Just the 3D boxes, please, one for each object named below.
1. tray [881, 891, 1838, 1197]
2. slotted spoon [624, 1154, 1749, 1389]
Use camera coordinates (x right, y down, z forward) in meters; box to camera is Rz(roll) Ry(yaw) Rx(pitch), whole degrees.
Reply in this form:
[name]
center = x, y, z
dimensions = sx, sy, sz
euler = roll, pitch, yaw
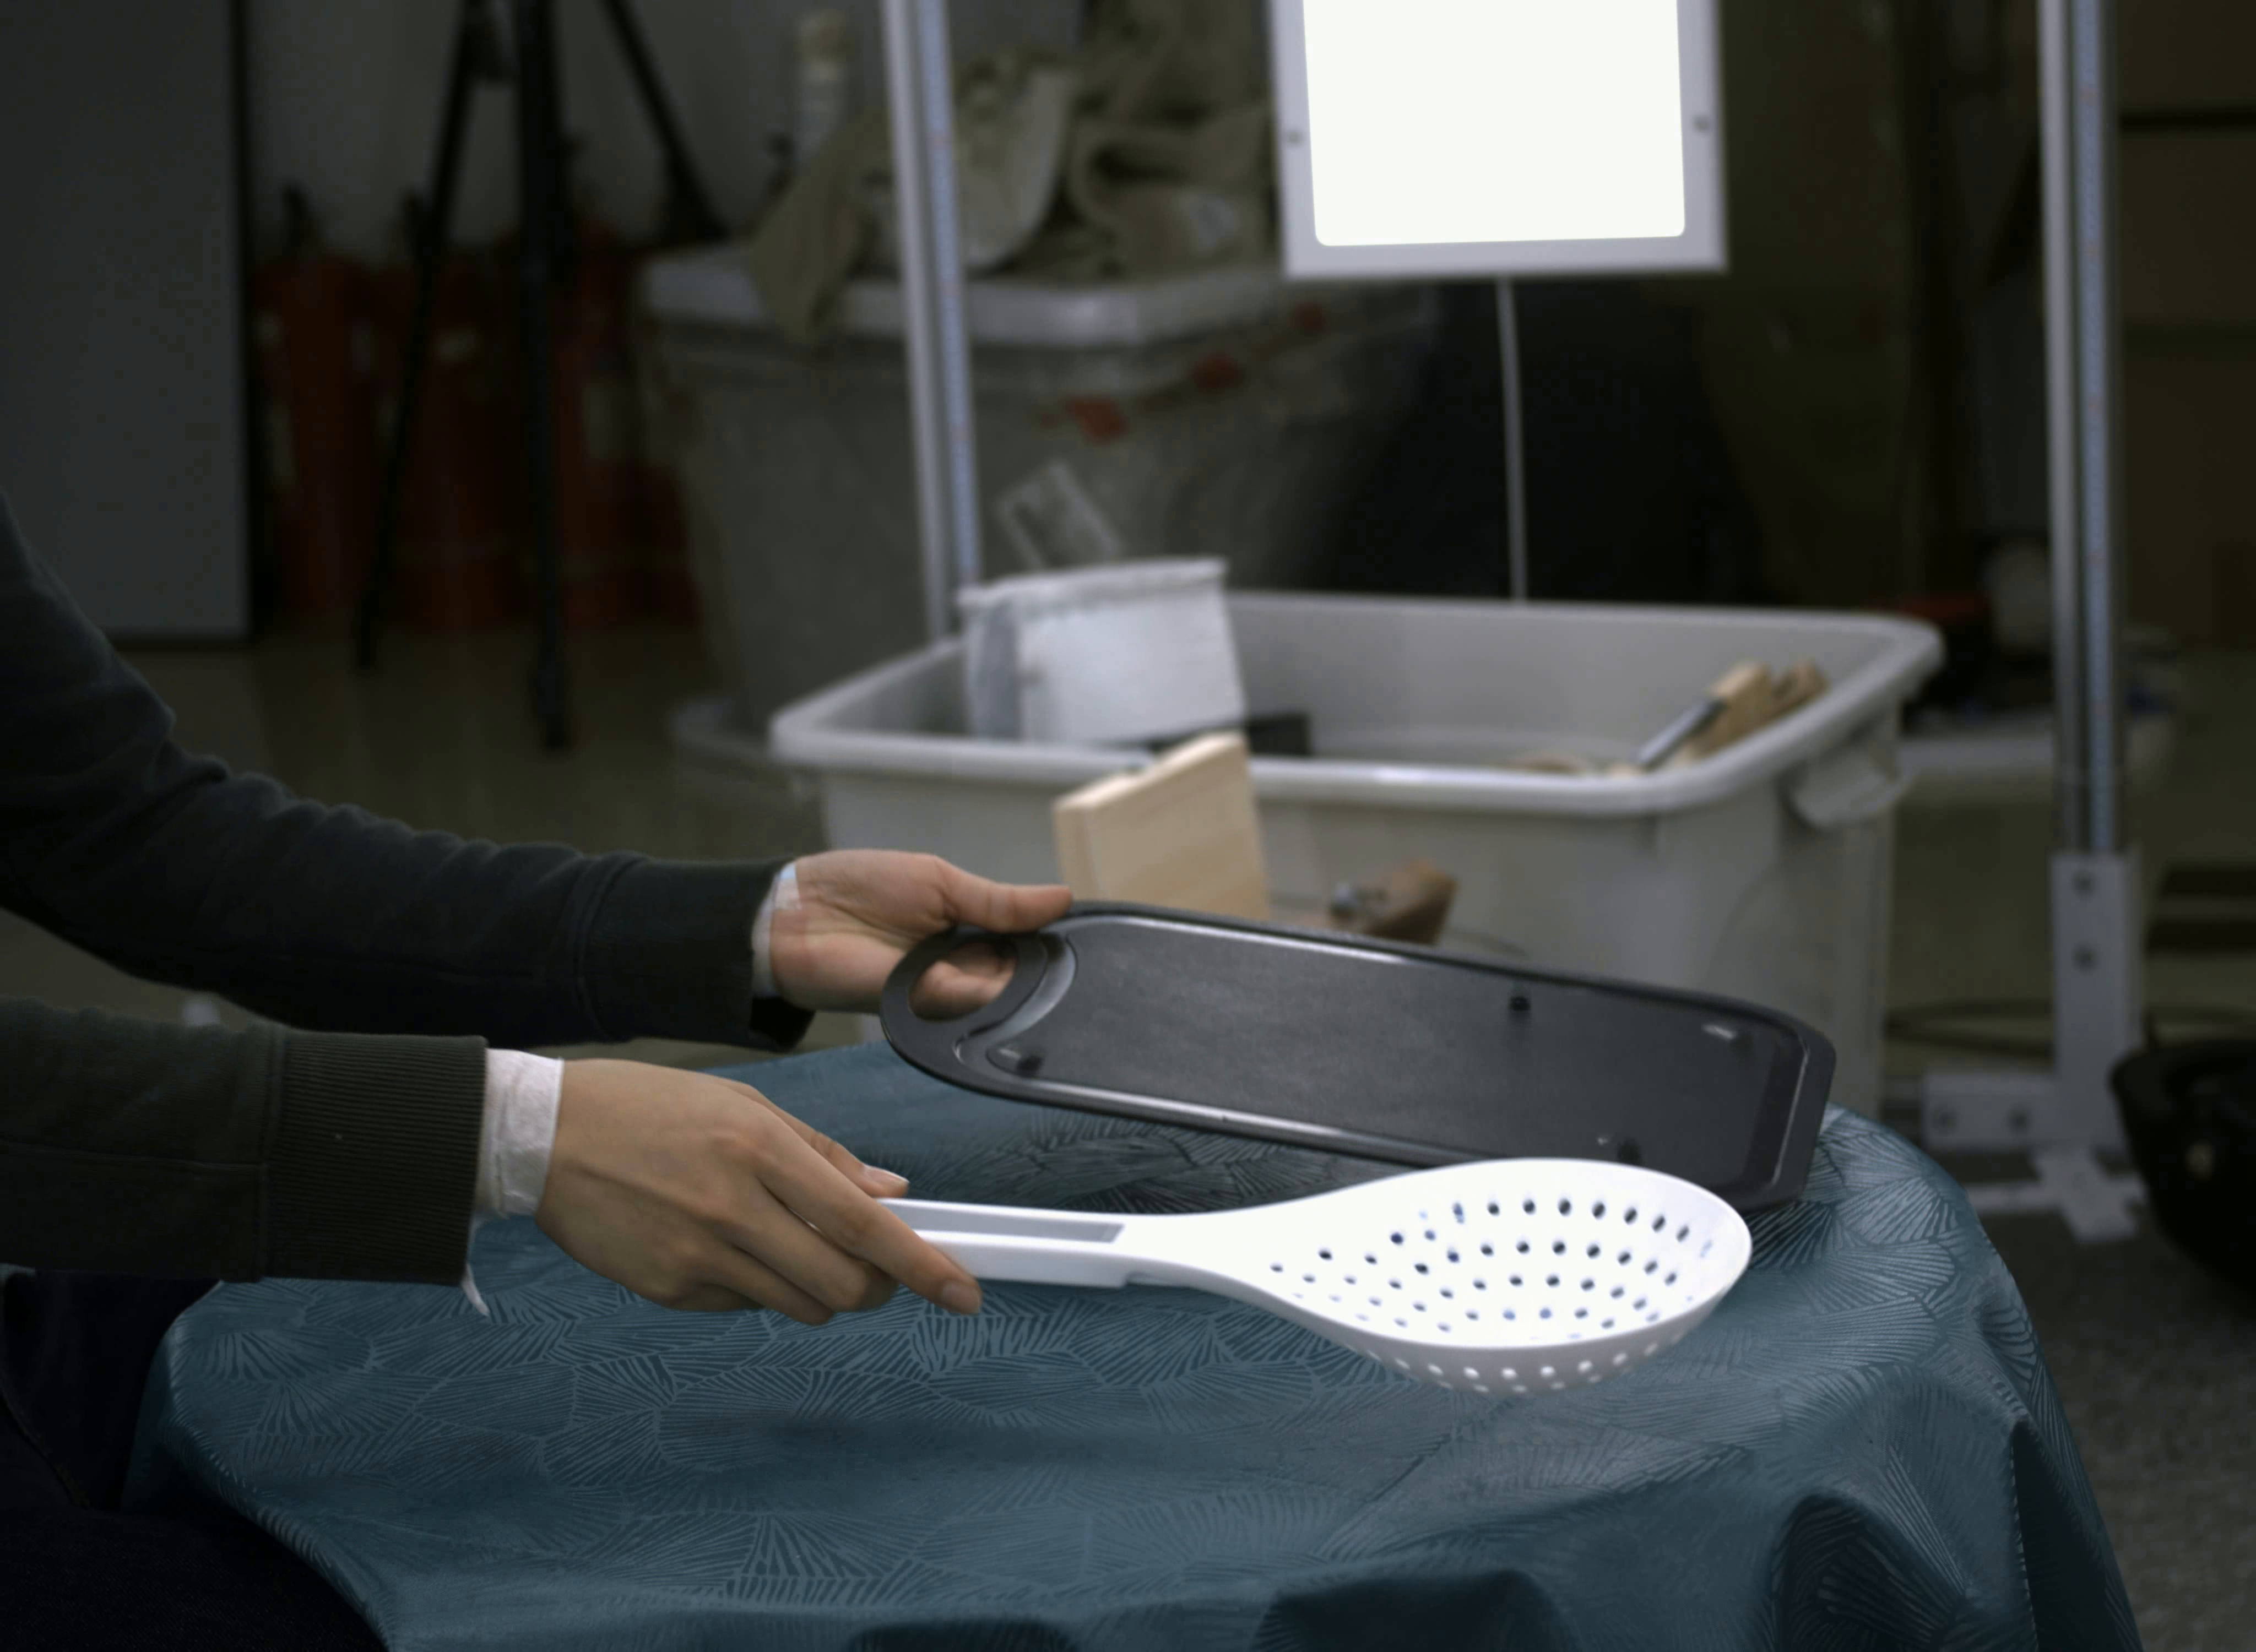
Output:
[tray]
center = 0.078, 0.070, 1.878
dimensions = 0.327, 0.010, 0.208
euler = 9, 18, 11
[slotted spoon]
center = 0.013, 0.125, 1.652
dimensions = 0.354, 0.046, 0.134
euler = 6, 21, 18
